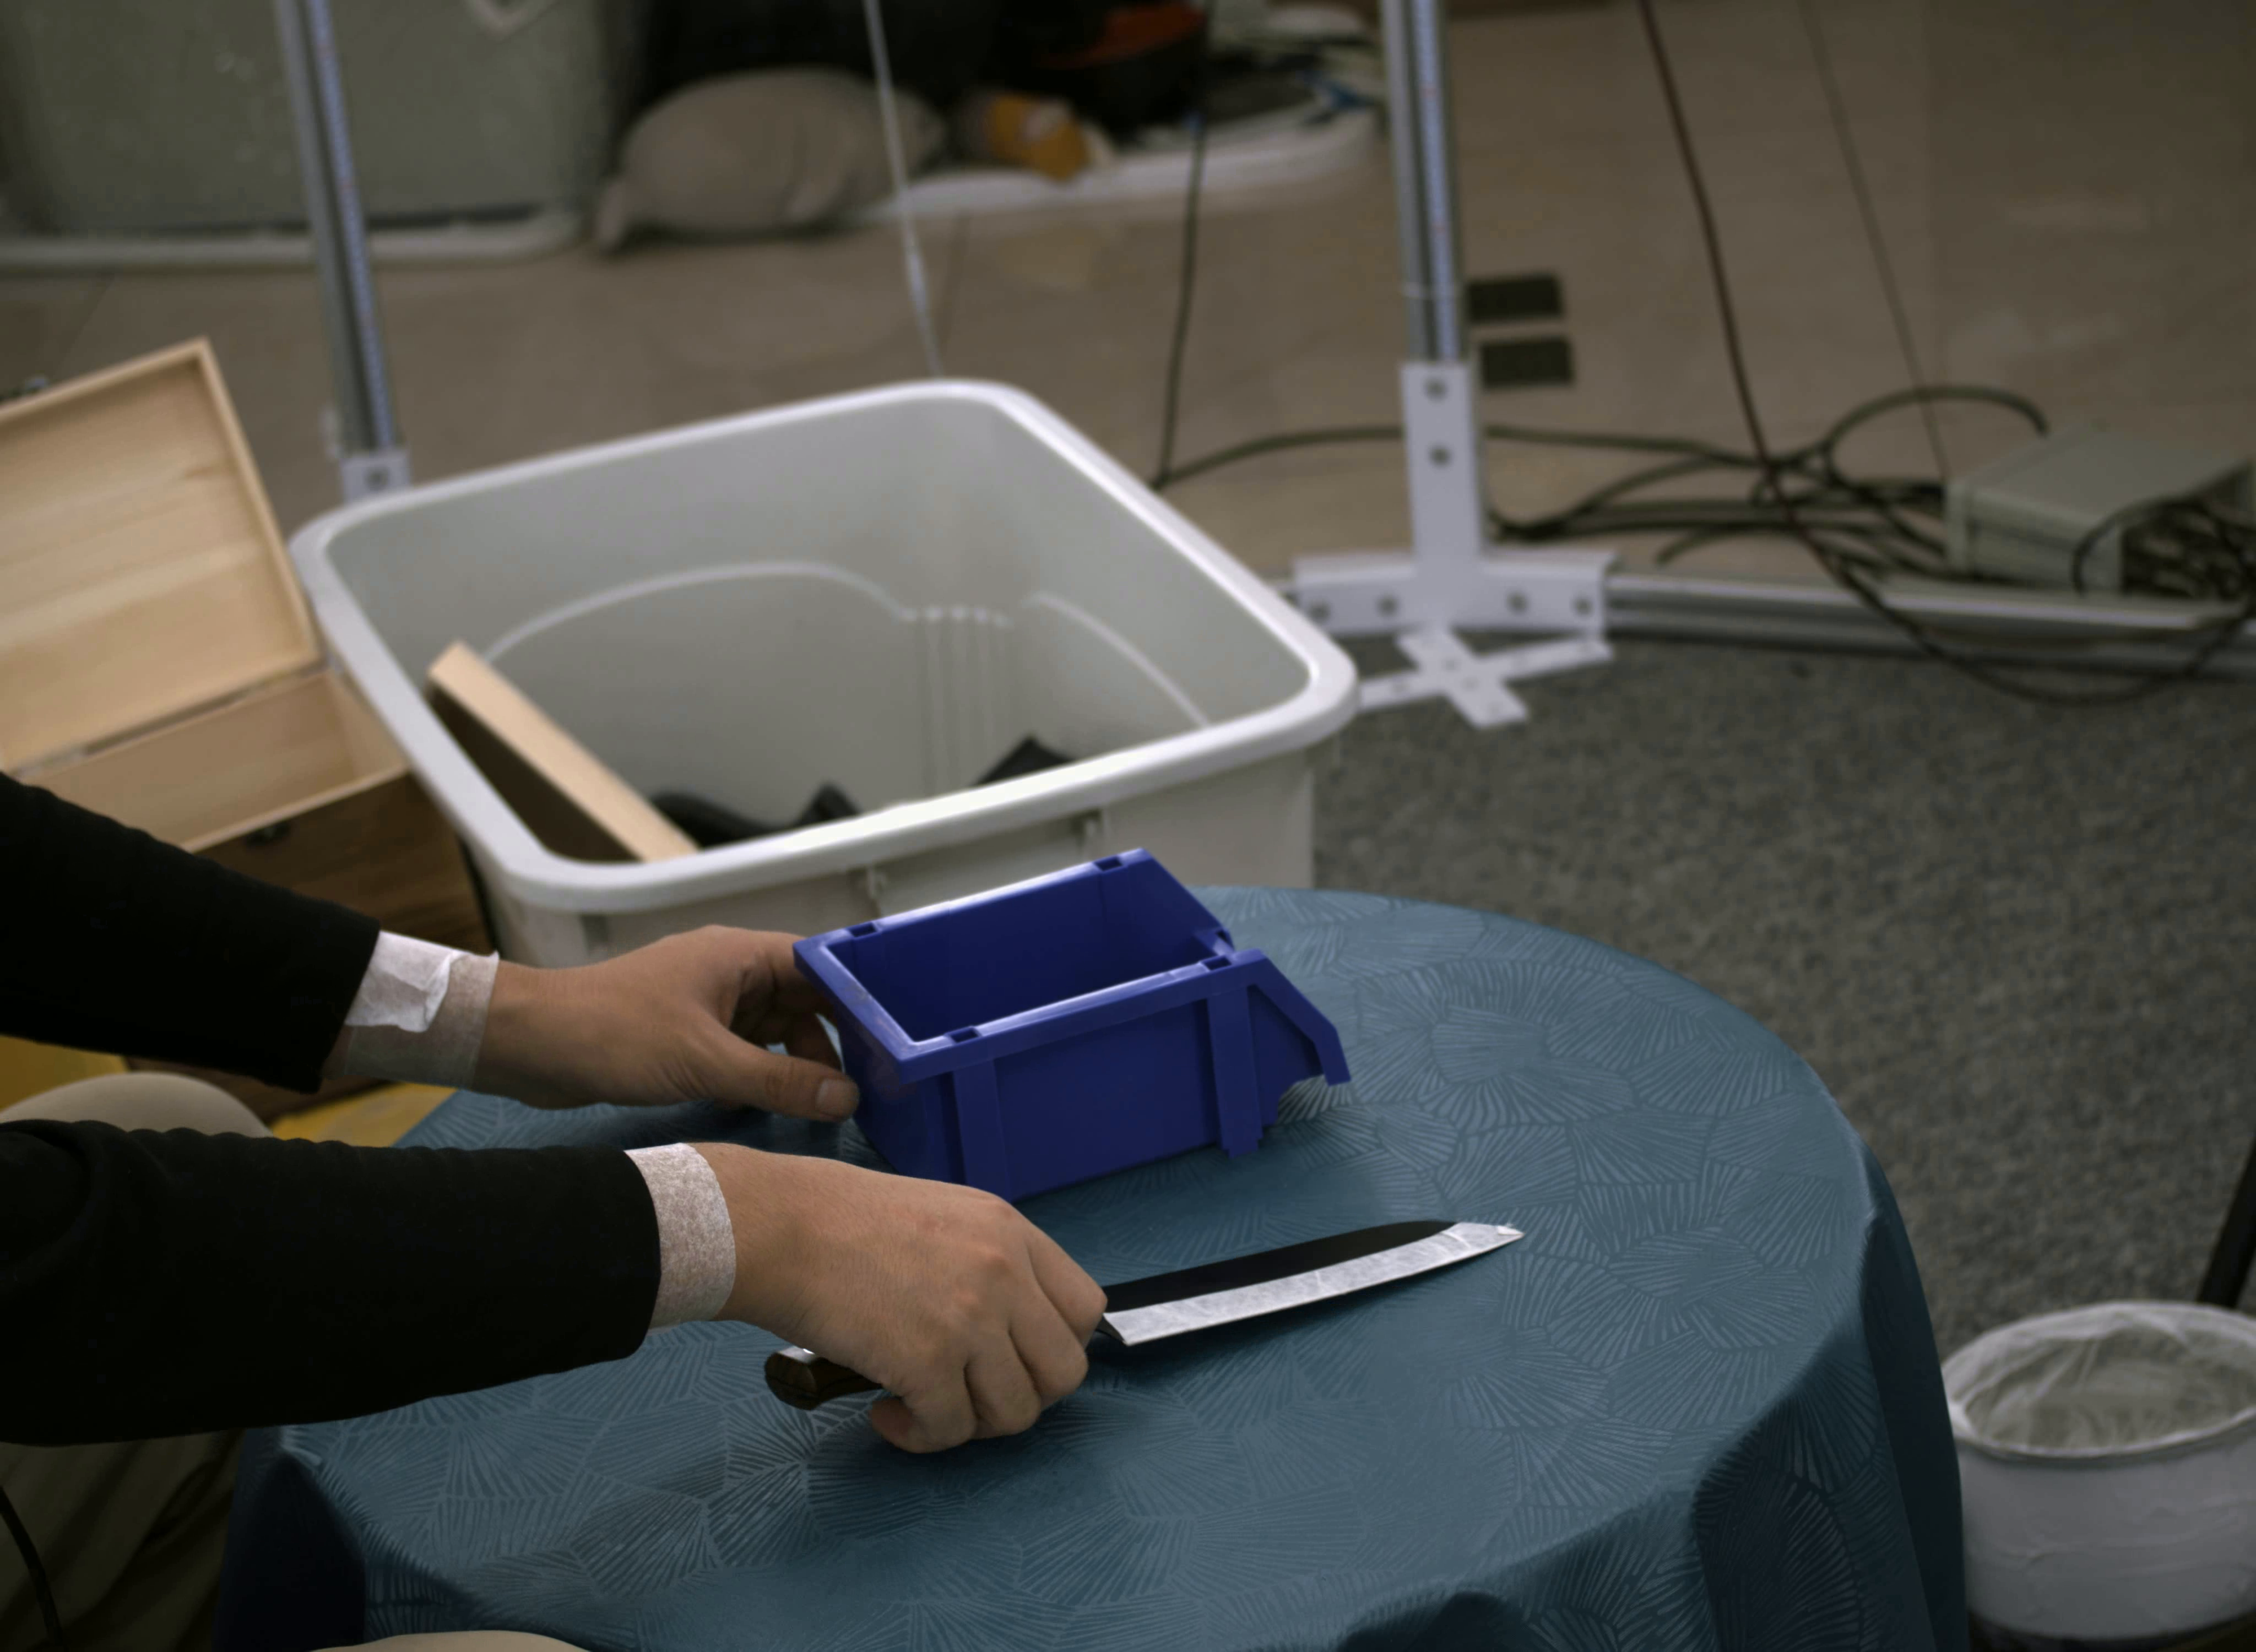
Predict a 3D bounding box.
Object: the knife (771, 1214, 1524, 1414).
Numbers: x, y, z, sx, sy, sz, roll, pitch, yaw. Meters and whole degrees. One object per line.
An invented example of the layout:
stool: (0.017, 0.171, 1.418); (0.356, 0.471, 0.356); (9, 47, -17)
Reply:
knife: (0.011, 0.173, 2.043); (0.288, 0.020, 0.049); (-10, 28, -19)

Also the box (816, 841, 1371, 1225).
box: (-0.014, 0.076, 2.189); (0.179, 0.083, 0.123); (-17, 27, -16)
